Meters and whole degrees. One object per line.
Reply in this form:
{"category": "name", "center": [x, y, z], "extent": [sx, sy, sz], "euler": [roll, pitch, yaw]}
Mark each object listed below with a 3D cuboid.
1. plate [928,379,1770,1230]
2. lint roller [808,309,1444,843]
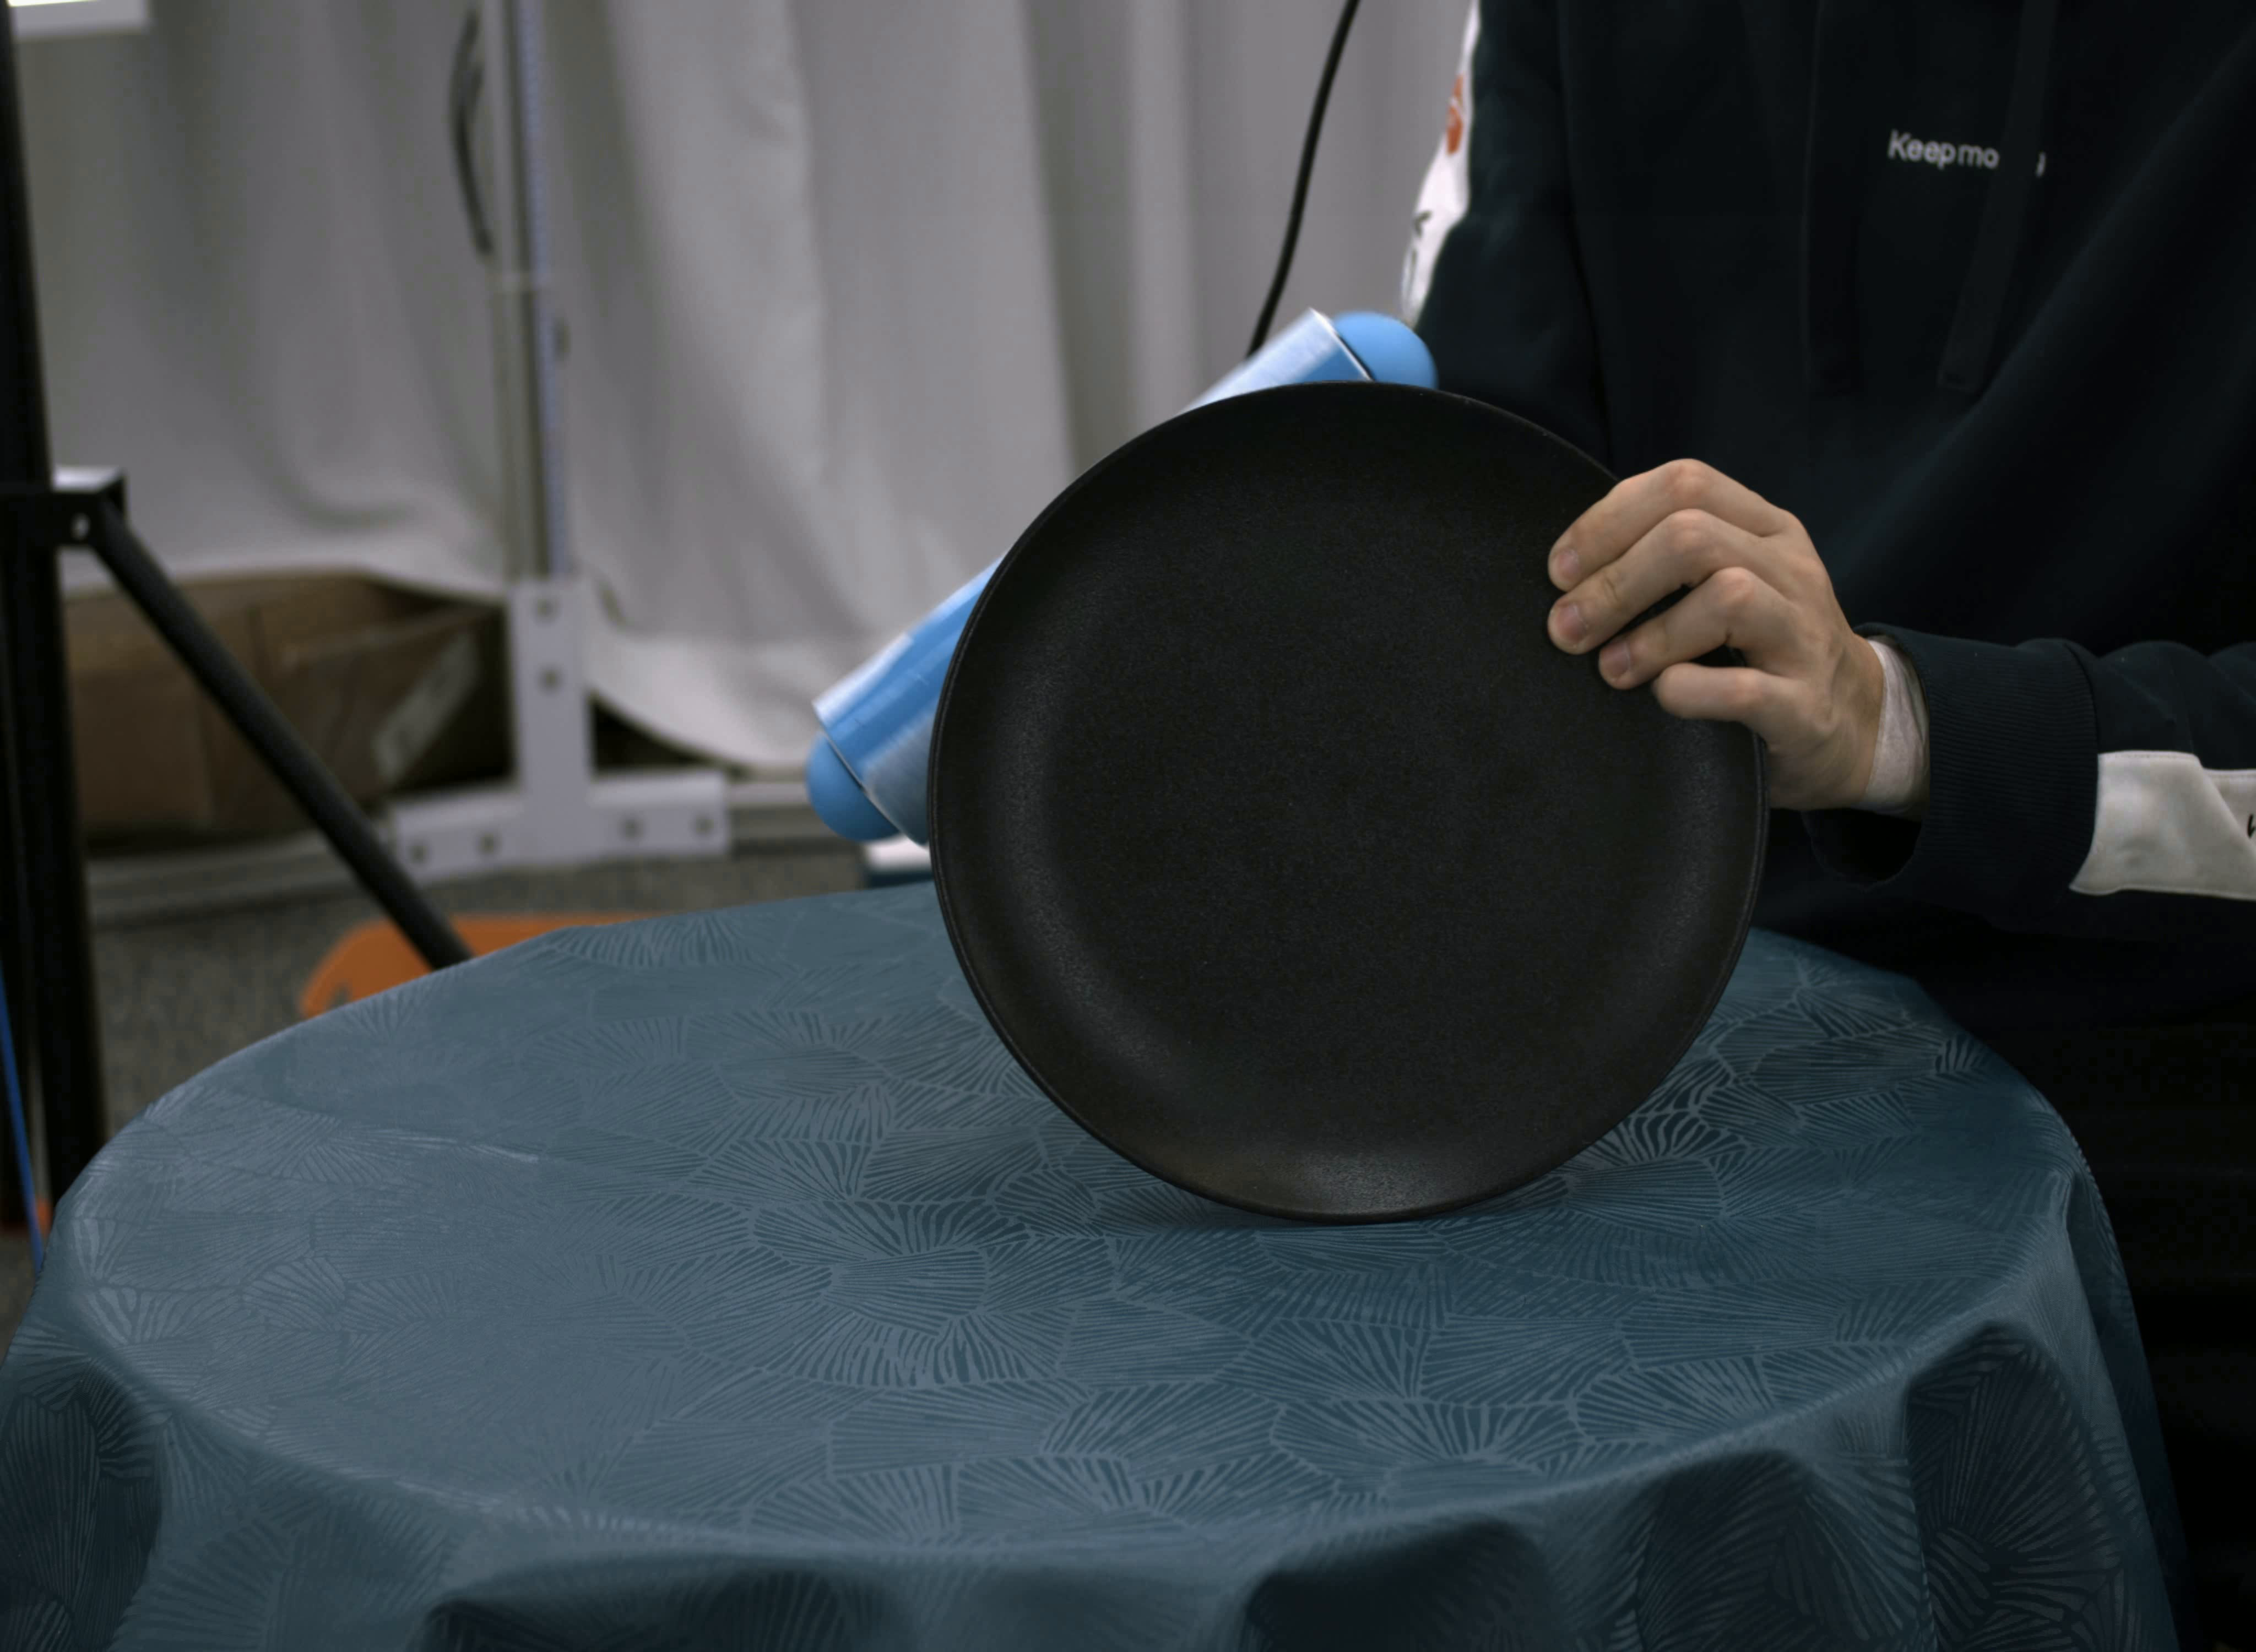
{"category": "plate", "center": [0.063, -0.006, 1.530], "extent": [0.243, 0.245, 0.023], "euler": [-3, 0, -1]}
{"category": "lint roller", "center": [0.017, -0.053, 1.634], "extent": [0.229, 0.177, 0.069], "euler": [-38, 61, 3]}
